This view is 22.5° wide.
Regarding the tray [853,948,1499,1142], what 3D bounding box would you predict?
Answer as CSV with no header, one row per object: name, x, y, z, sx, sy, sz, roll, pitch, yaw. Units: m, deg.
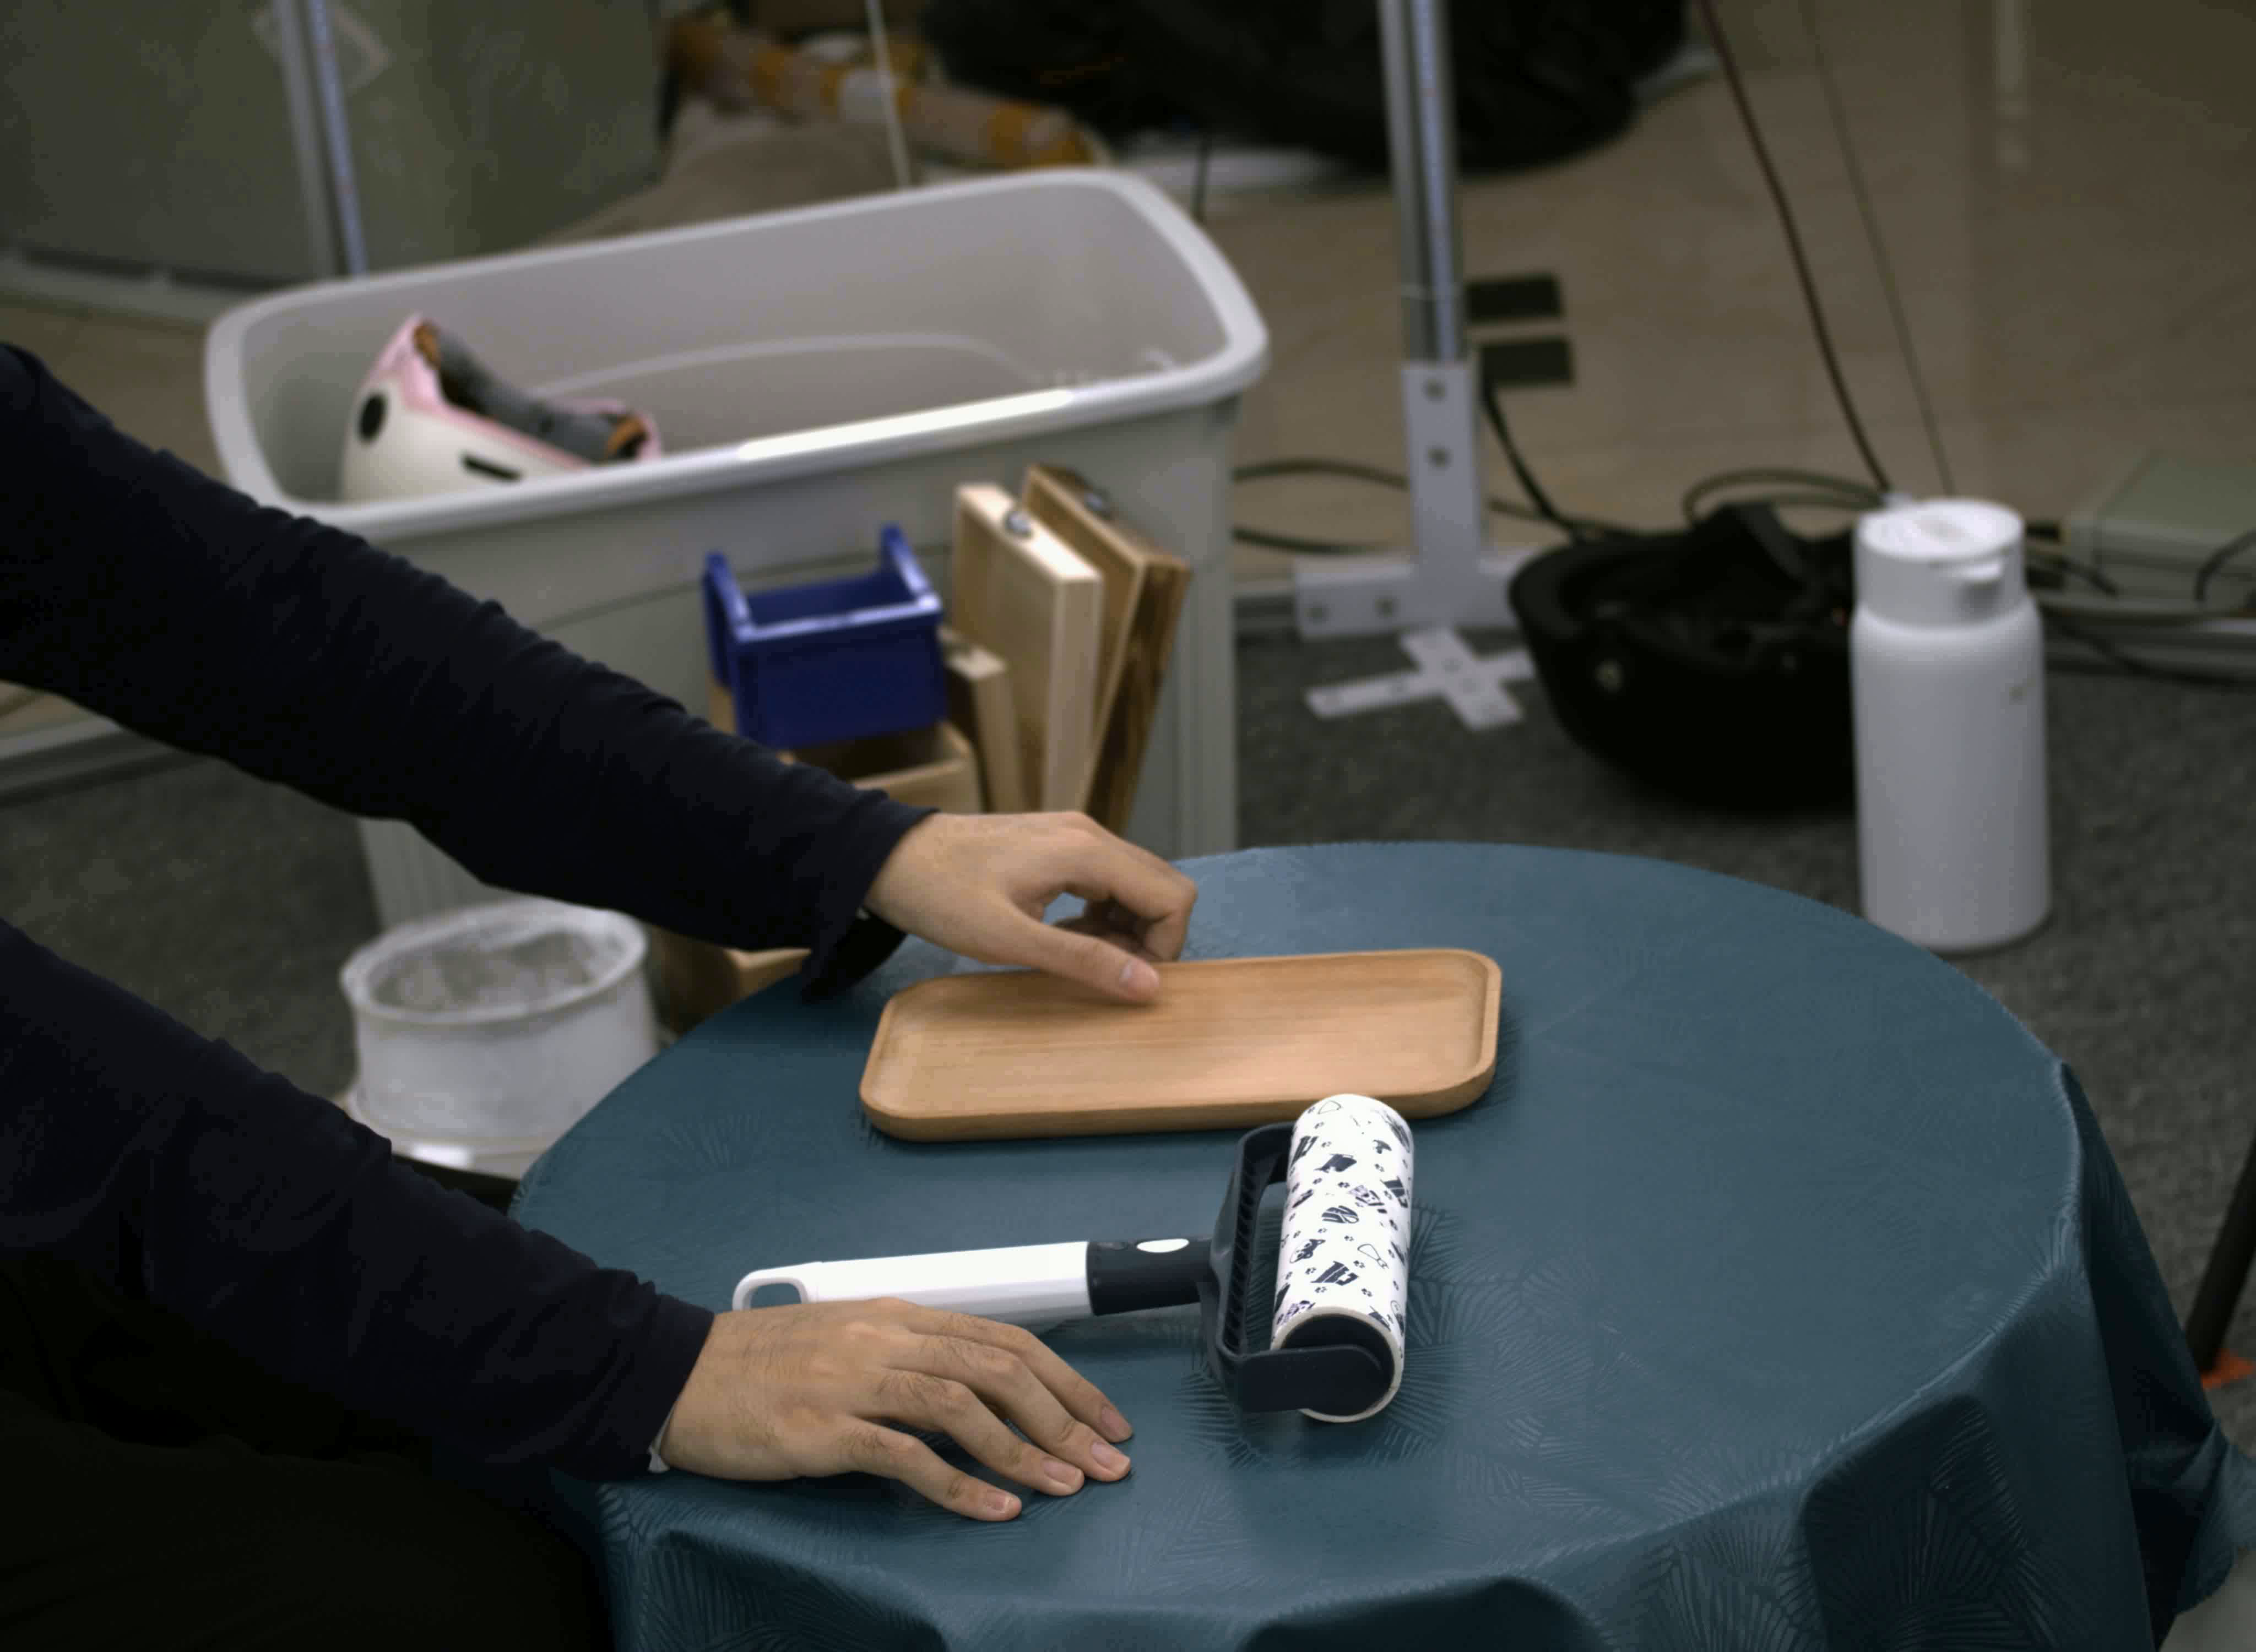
tray,0.020,0.087,2.240,0.250,0.023,0.129,-4,22,10

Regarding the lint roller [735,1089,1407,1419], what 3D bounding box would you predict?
lint roller,-0.023,0.165,2.054,0.247,0.051,0.173,-7,25,7
